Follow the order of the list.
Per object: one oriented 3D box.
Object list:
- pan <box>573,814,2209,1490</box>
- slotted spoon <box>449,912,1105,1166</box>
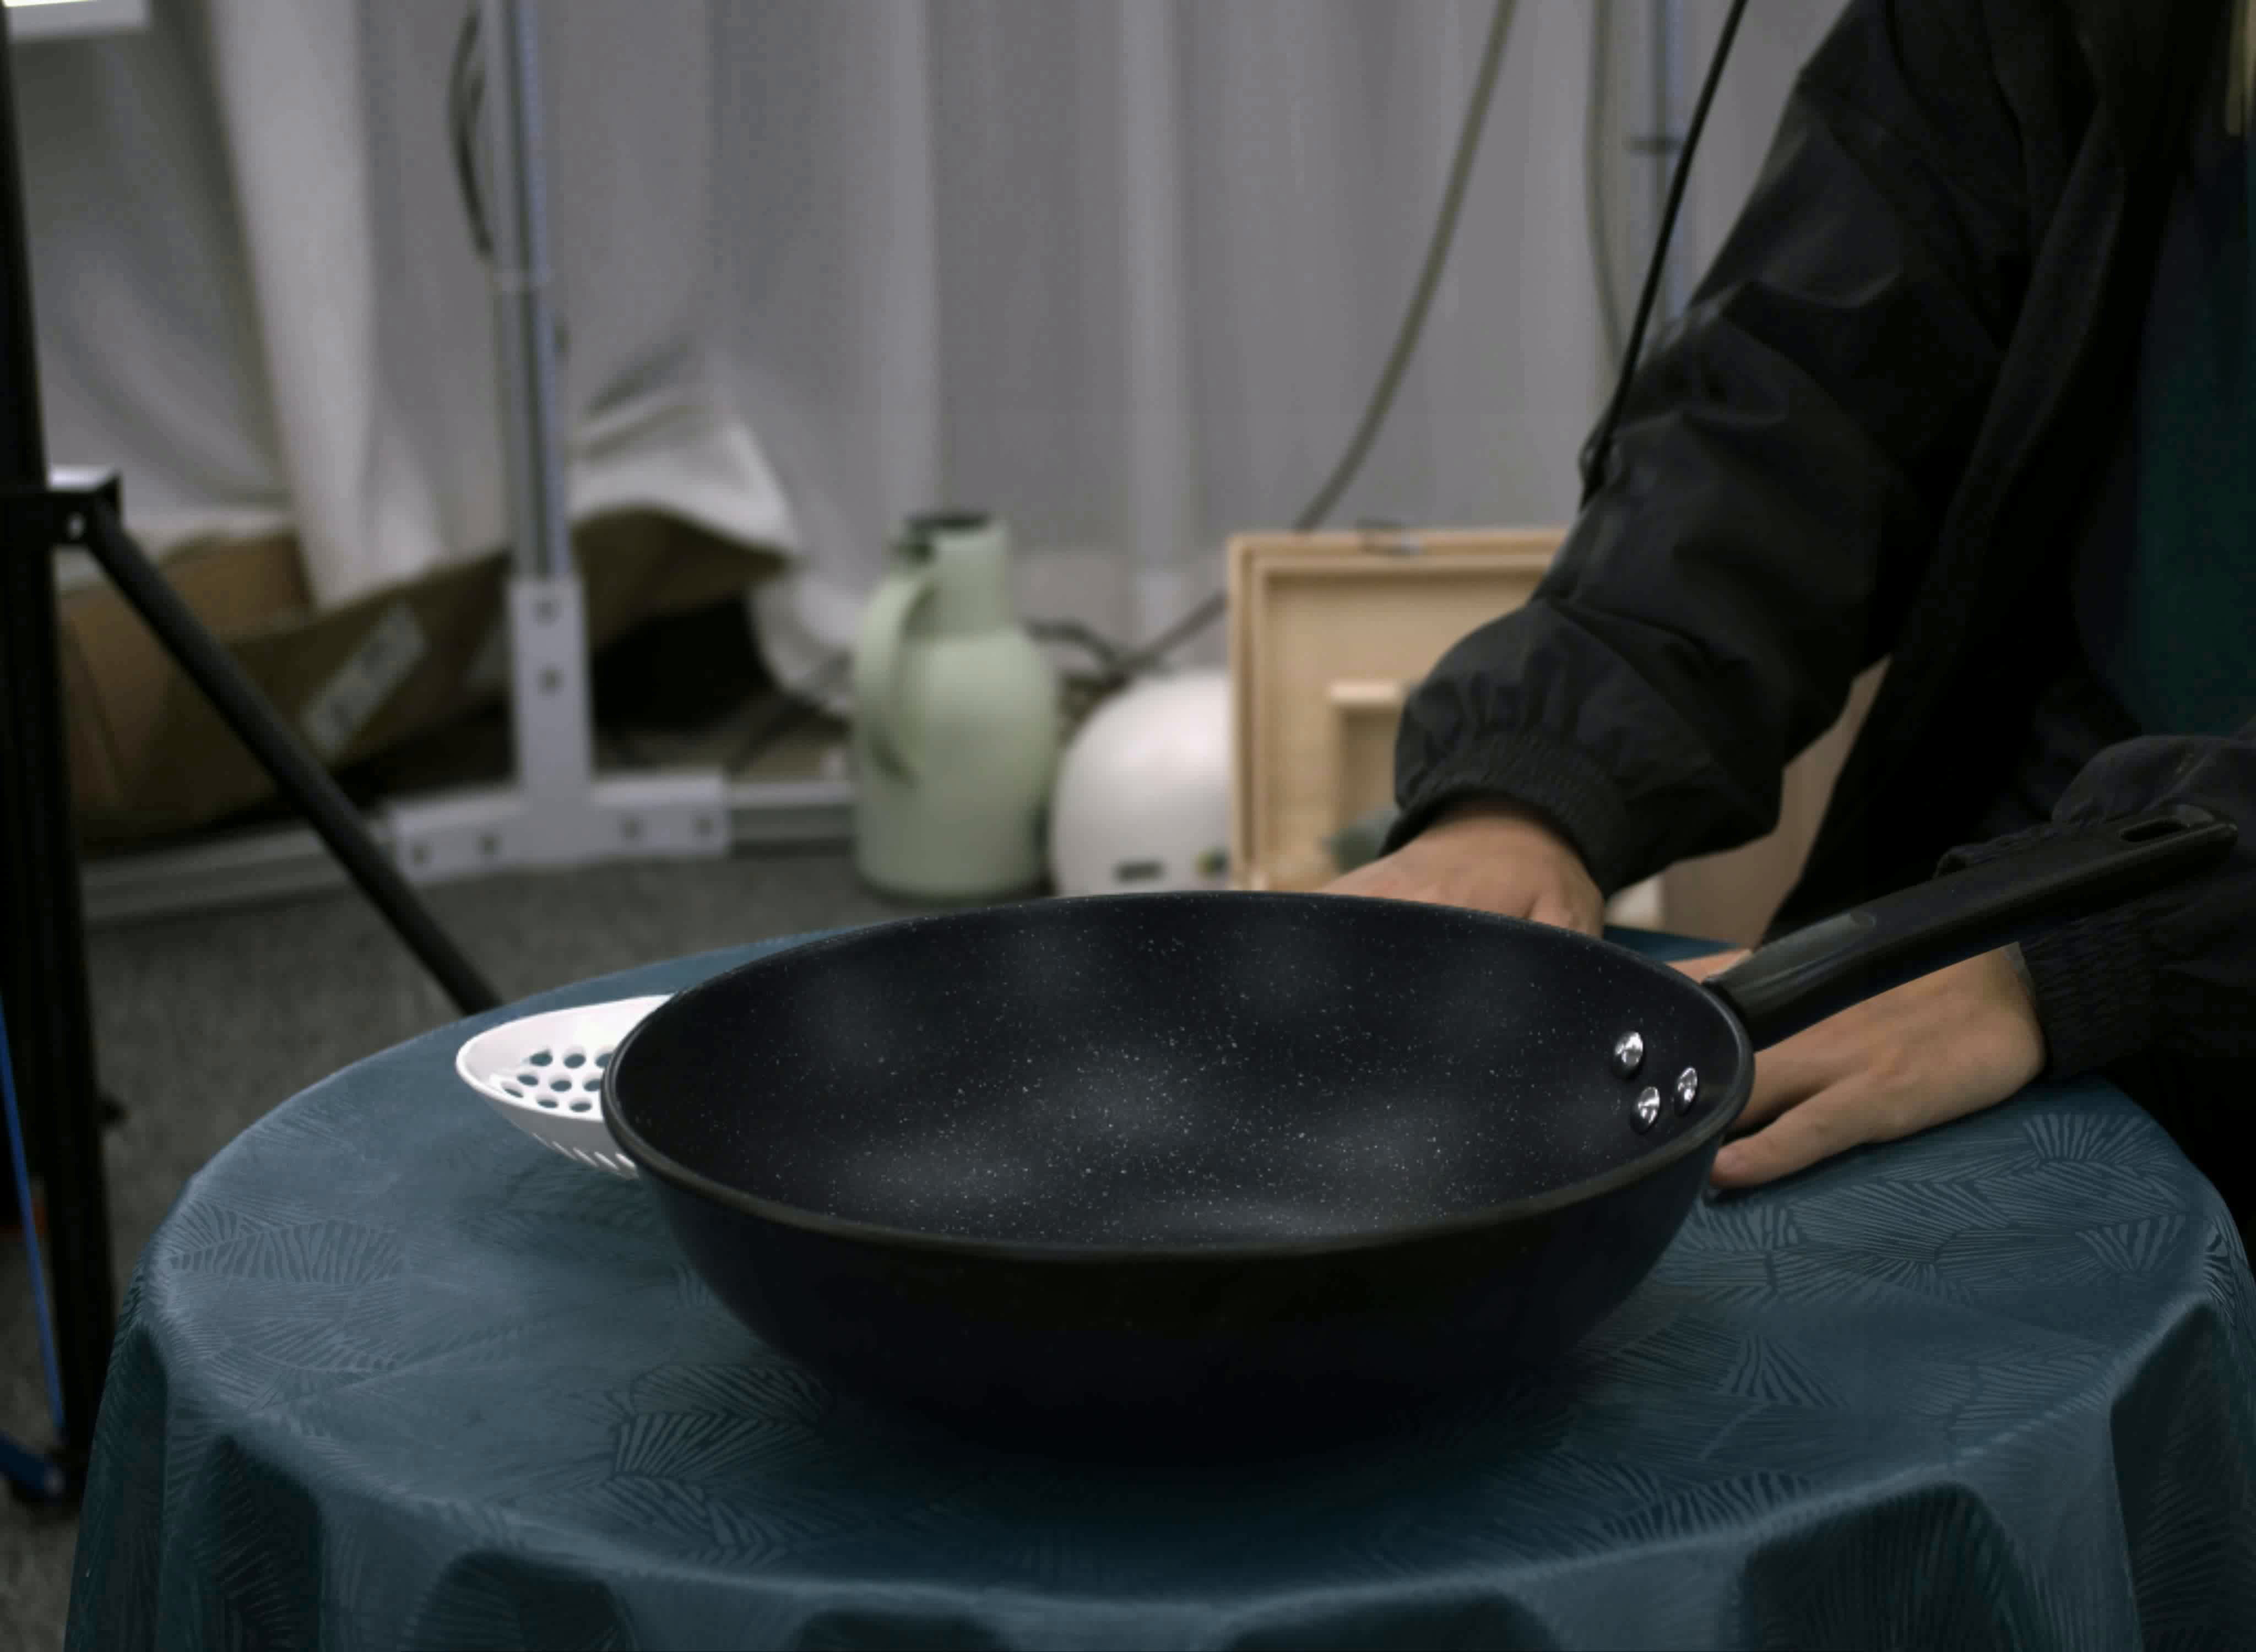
[{"bbox_3d":[0.086,0.083,1.444,0.468,0.111,0.316,-8,18,-18],"label":"pan"},{"bbox_3d":[-0.073,0.056,1.678,0.139,0.050,0.341,6,17,32],"label":"slotted spoon"}]
